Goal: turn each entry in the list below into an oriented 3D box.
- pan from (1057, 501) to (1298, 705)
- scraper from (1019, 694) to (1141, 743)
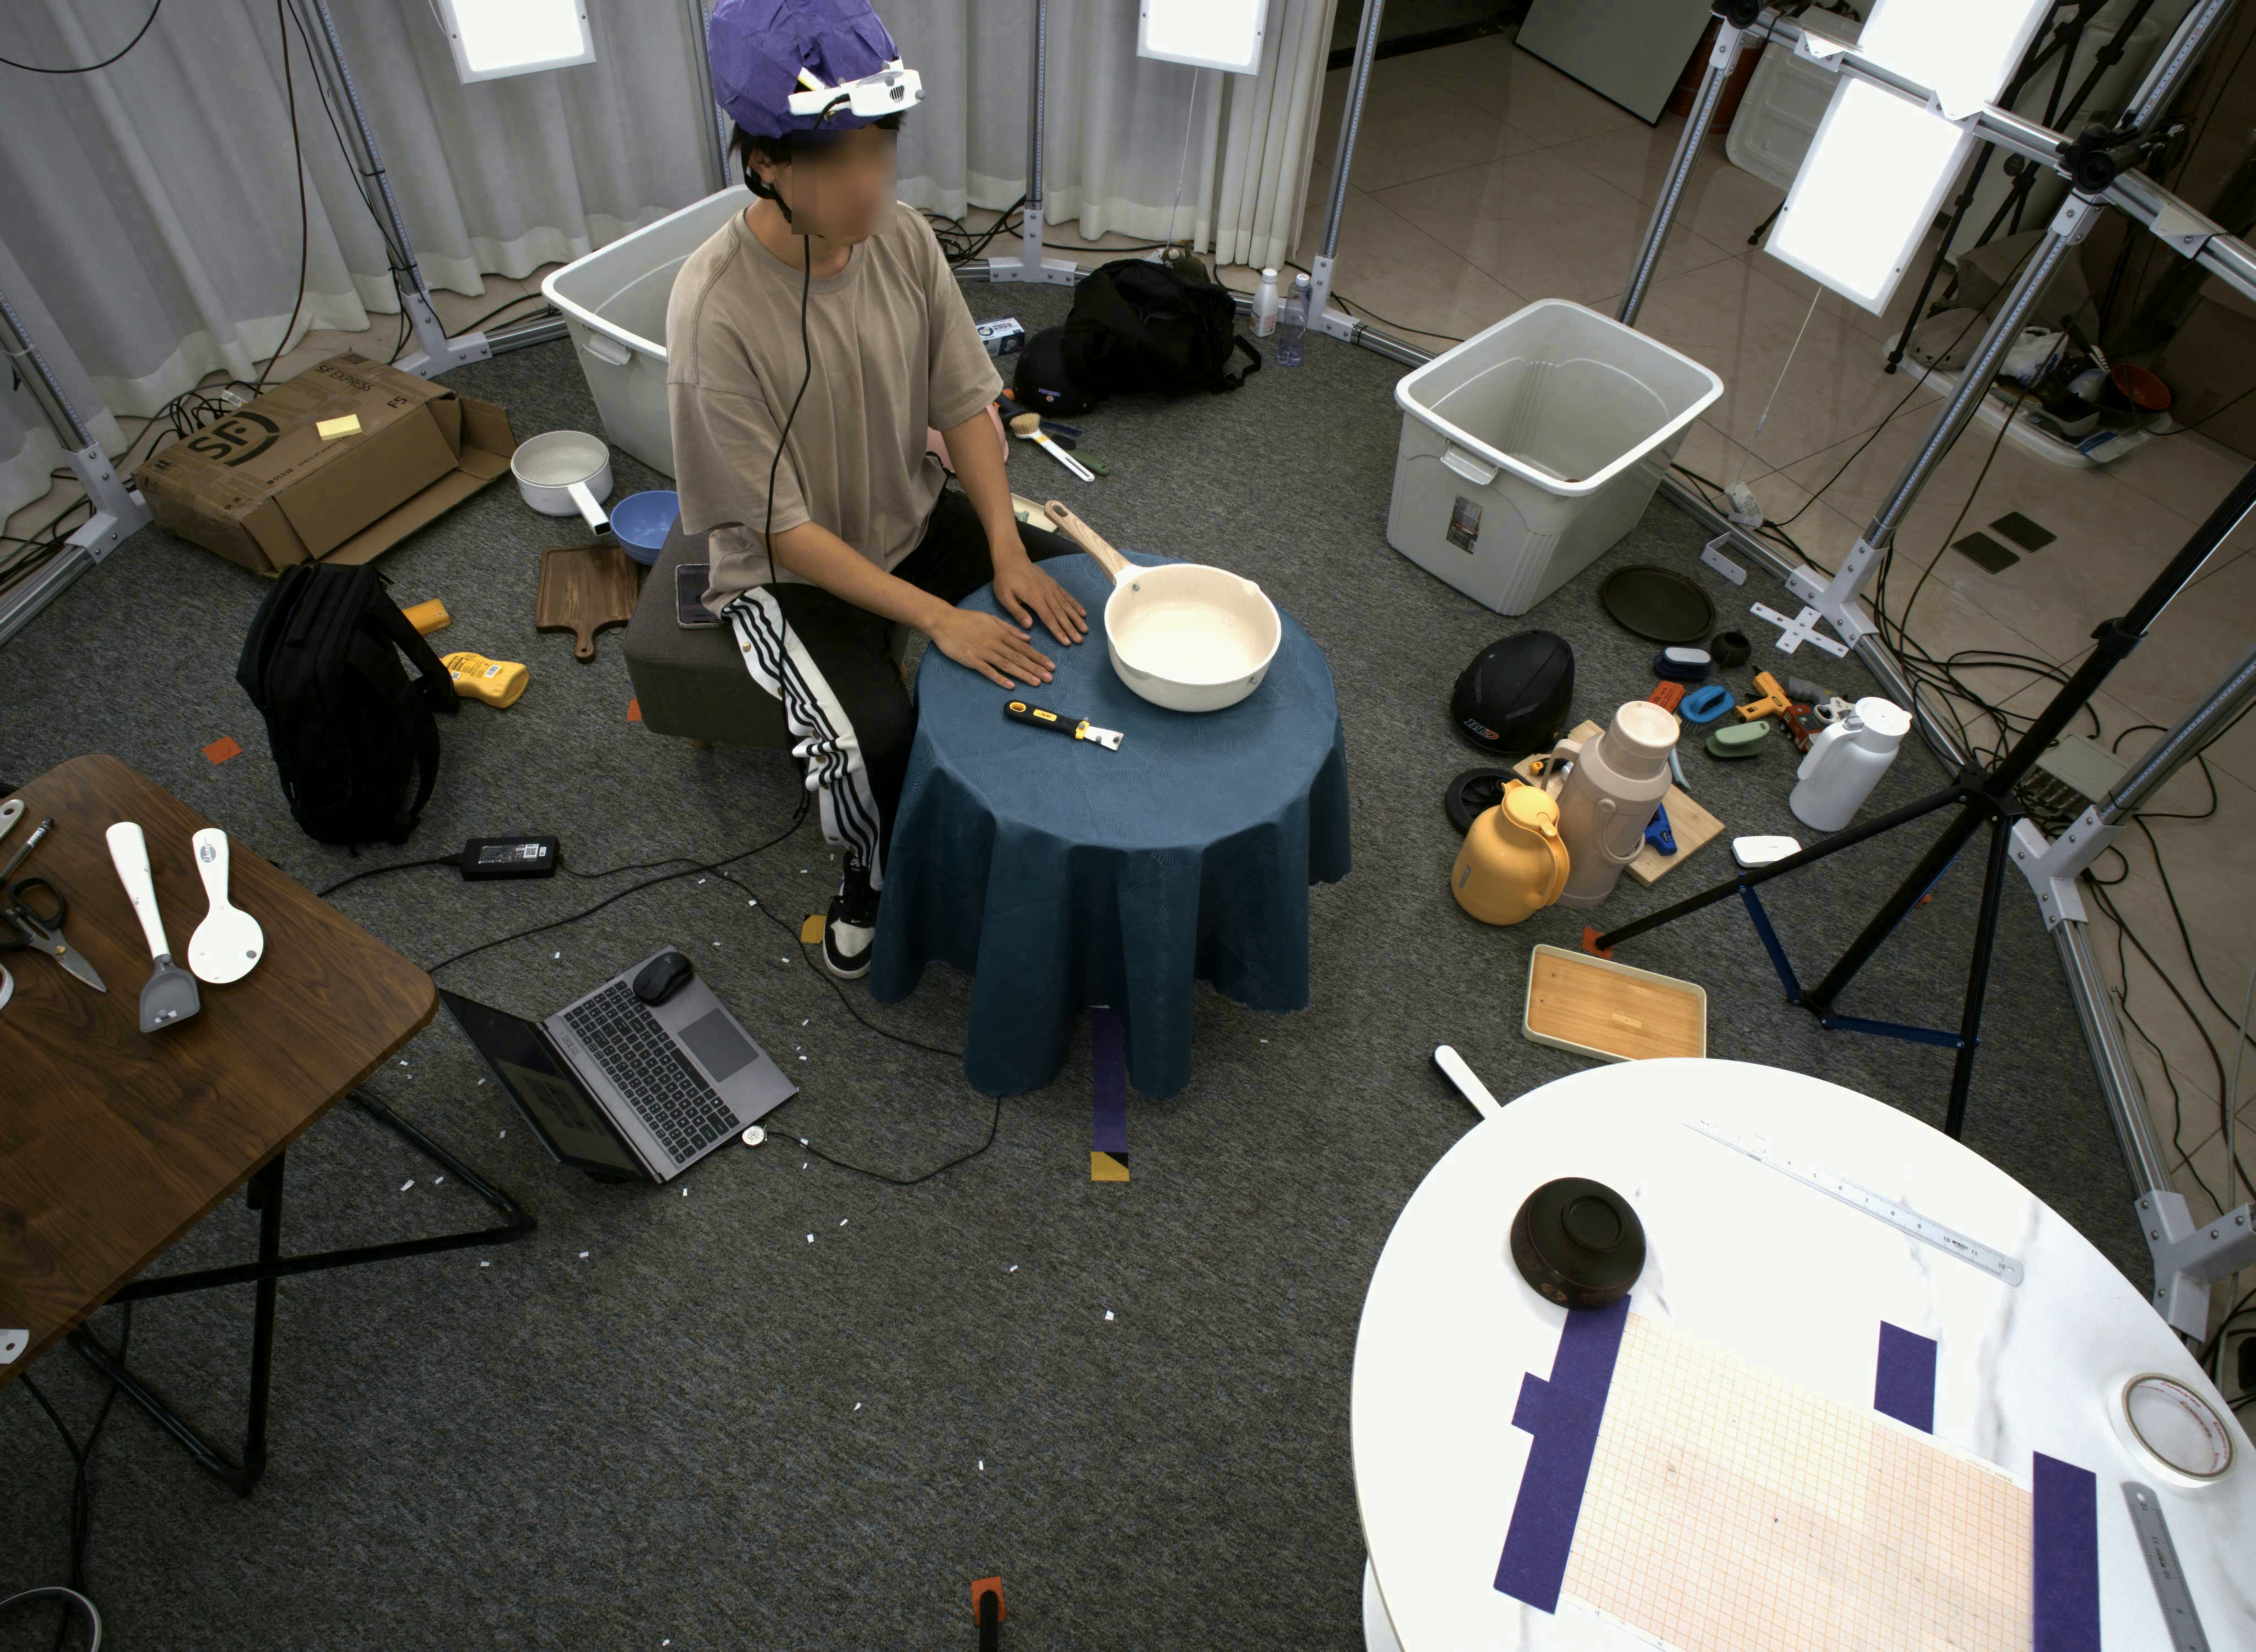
[{"bbox_3d":[0.051,-0.334,1.890,0.265,0.099,0.441,-35,60,-28],"label":"pan"},{"bbox_3d":[-0.068,-0.149,1.765,0.171,0.014,0.039,16,55,6],"label":"scraper"}]
